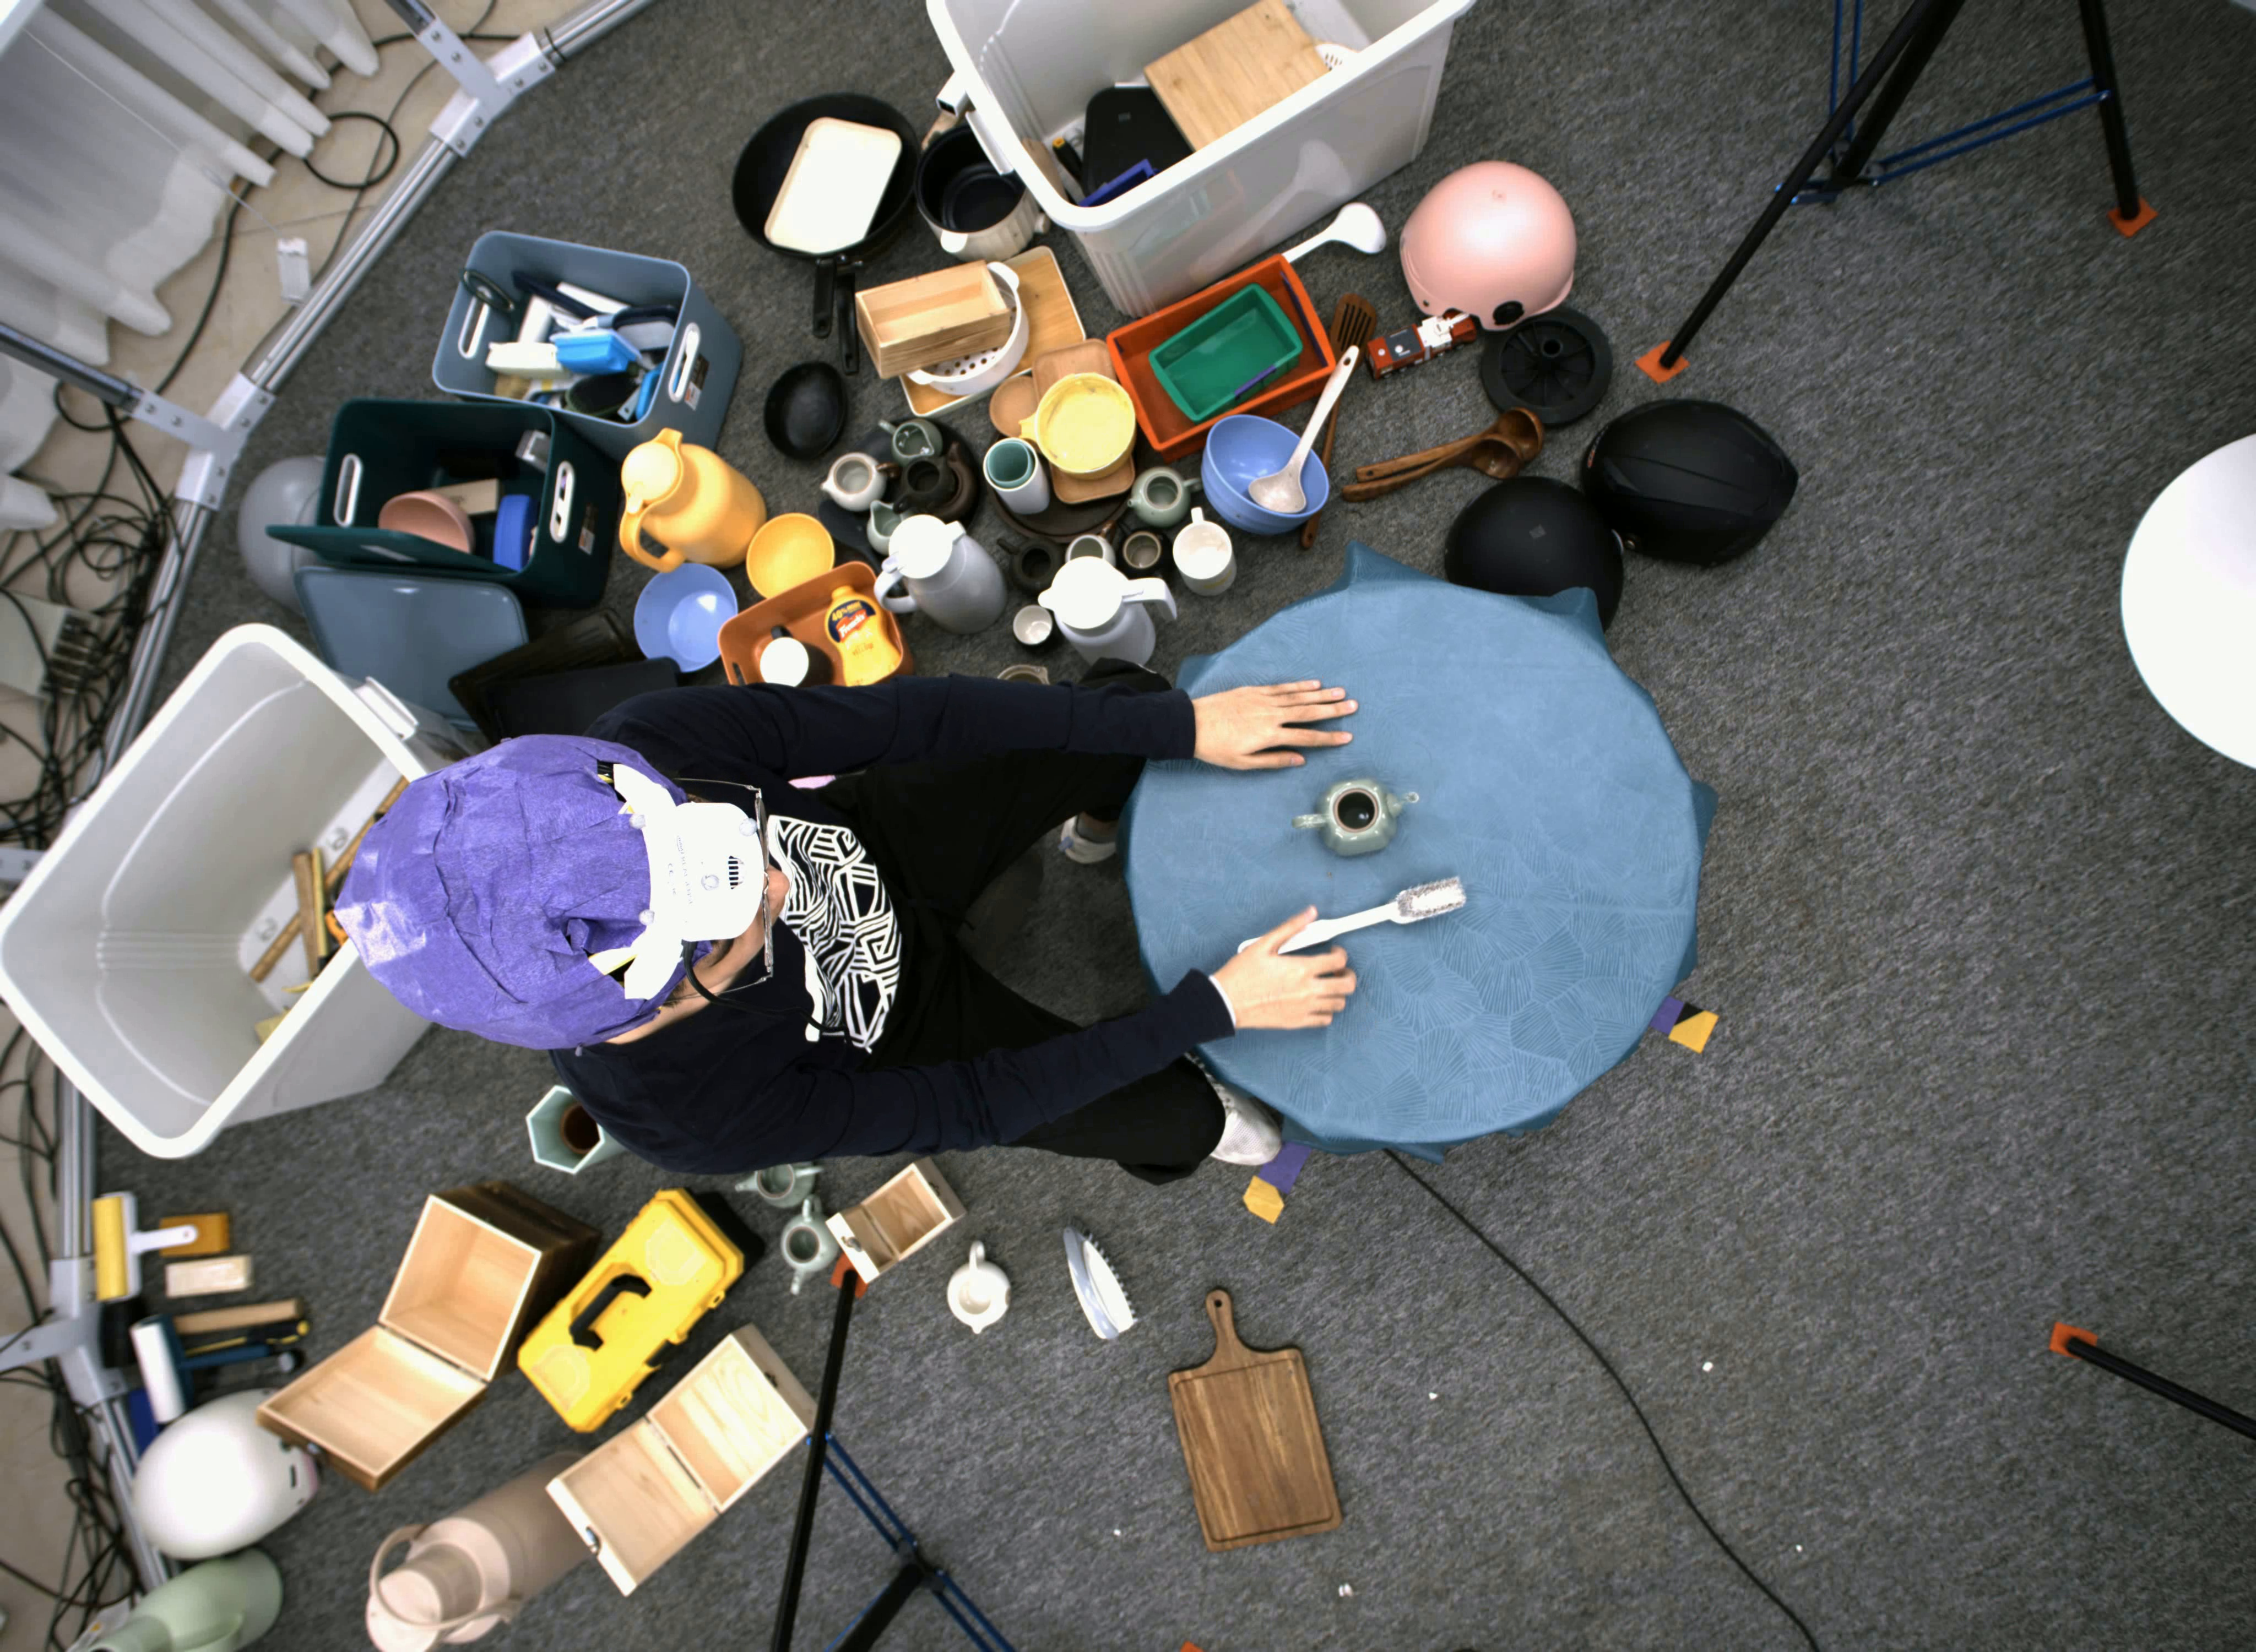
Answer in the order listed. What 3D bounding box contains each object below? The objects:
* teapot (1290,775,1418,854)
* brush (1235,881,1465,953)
[{"bbox_3d":[0.235,-0.015,1.432,0.133,0.075,0.079,-13,84,10],"label":"teapot"},{"bbox_3d":[0.229,0.097,1.441,0.245,0.050,0.034,-13,88,10],"label":"brush"}]
